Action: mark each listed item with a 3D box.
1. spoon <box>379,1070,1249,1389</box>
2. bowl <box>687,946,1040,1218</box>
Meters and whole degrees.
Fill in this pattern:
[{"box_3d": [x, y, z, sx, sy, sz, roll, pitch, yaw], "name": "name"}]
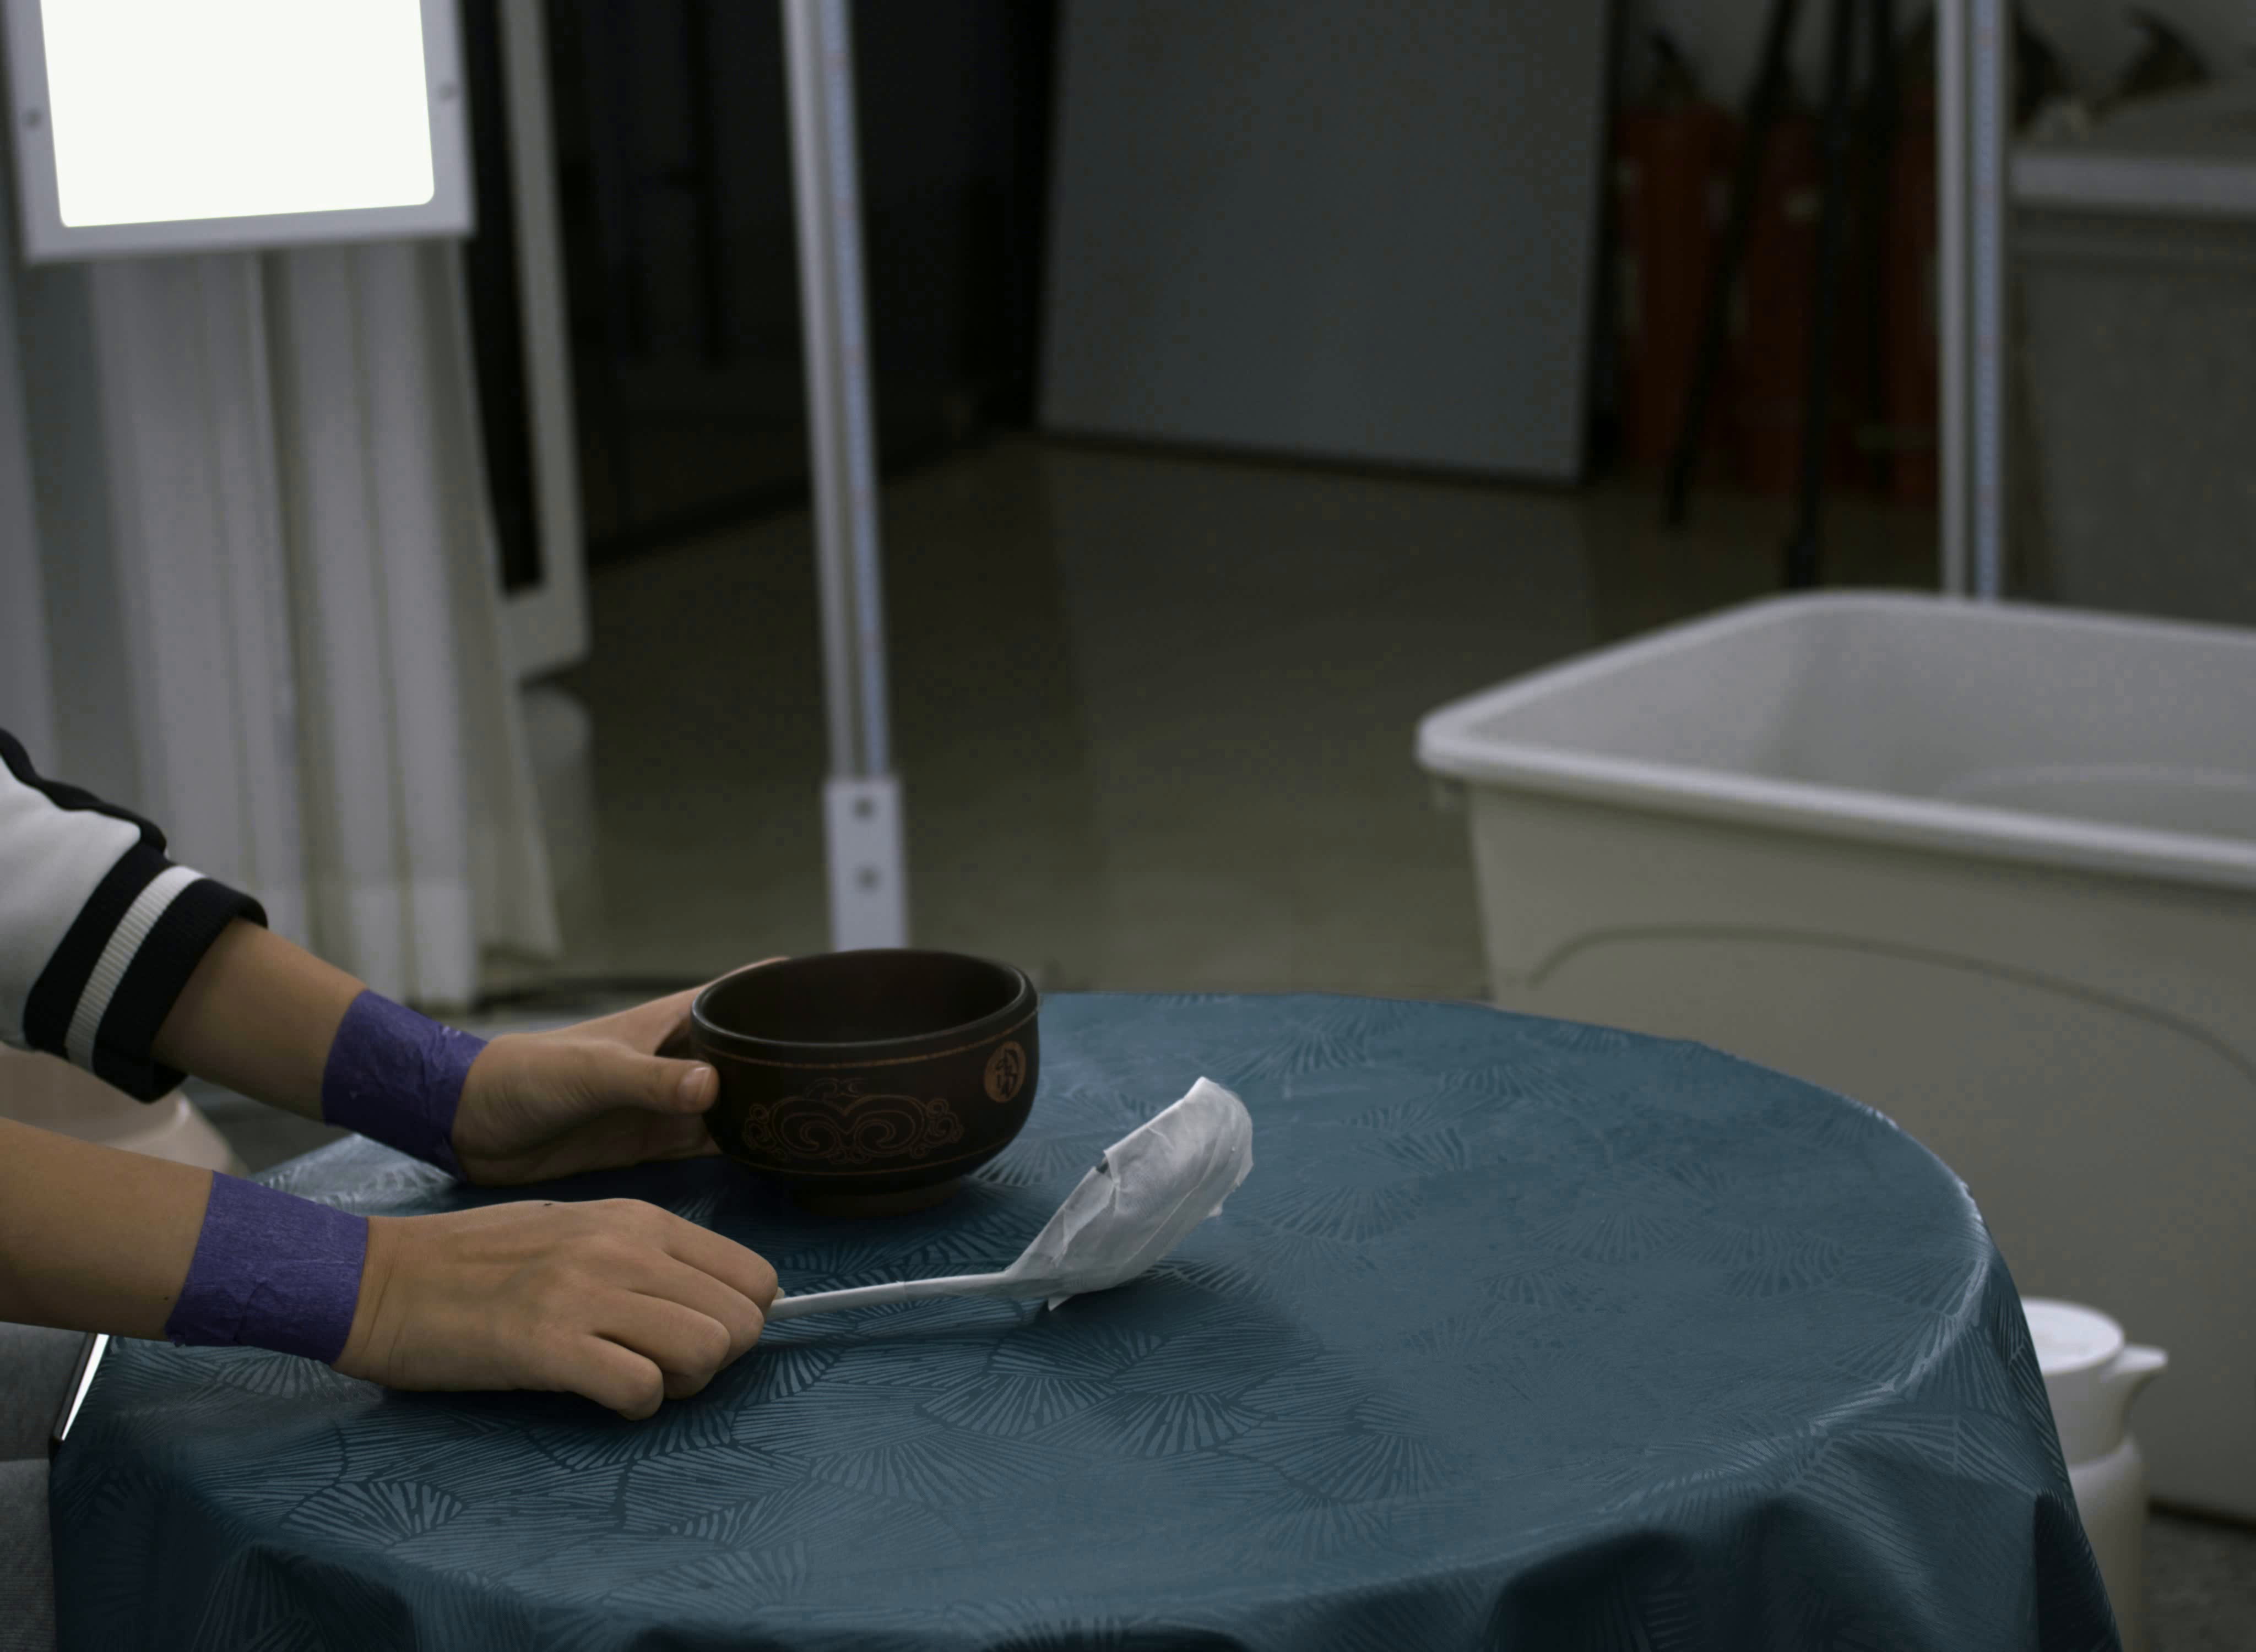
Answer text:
[{"box_3d": [-0.095, 0.127, 1.661, 0.274, 0.060, 0.100, -8, -30, 2], "name": "spoon"}, {"box_3d": [-0.086, 0.088, 1.778, 0.116, 0.070, 0.118, -4, 13, 0], "name": "bowl"}]
